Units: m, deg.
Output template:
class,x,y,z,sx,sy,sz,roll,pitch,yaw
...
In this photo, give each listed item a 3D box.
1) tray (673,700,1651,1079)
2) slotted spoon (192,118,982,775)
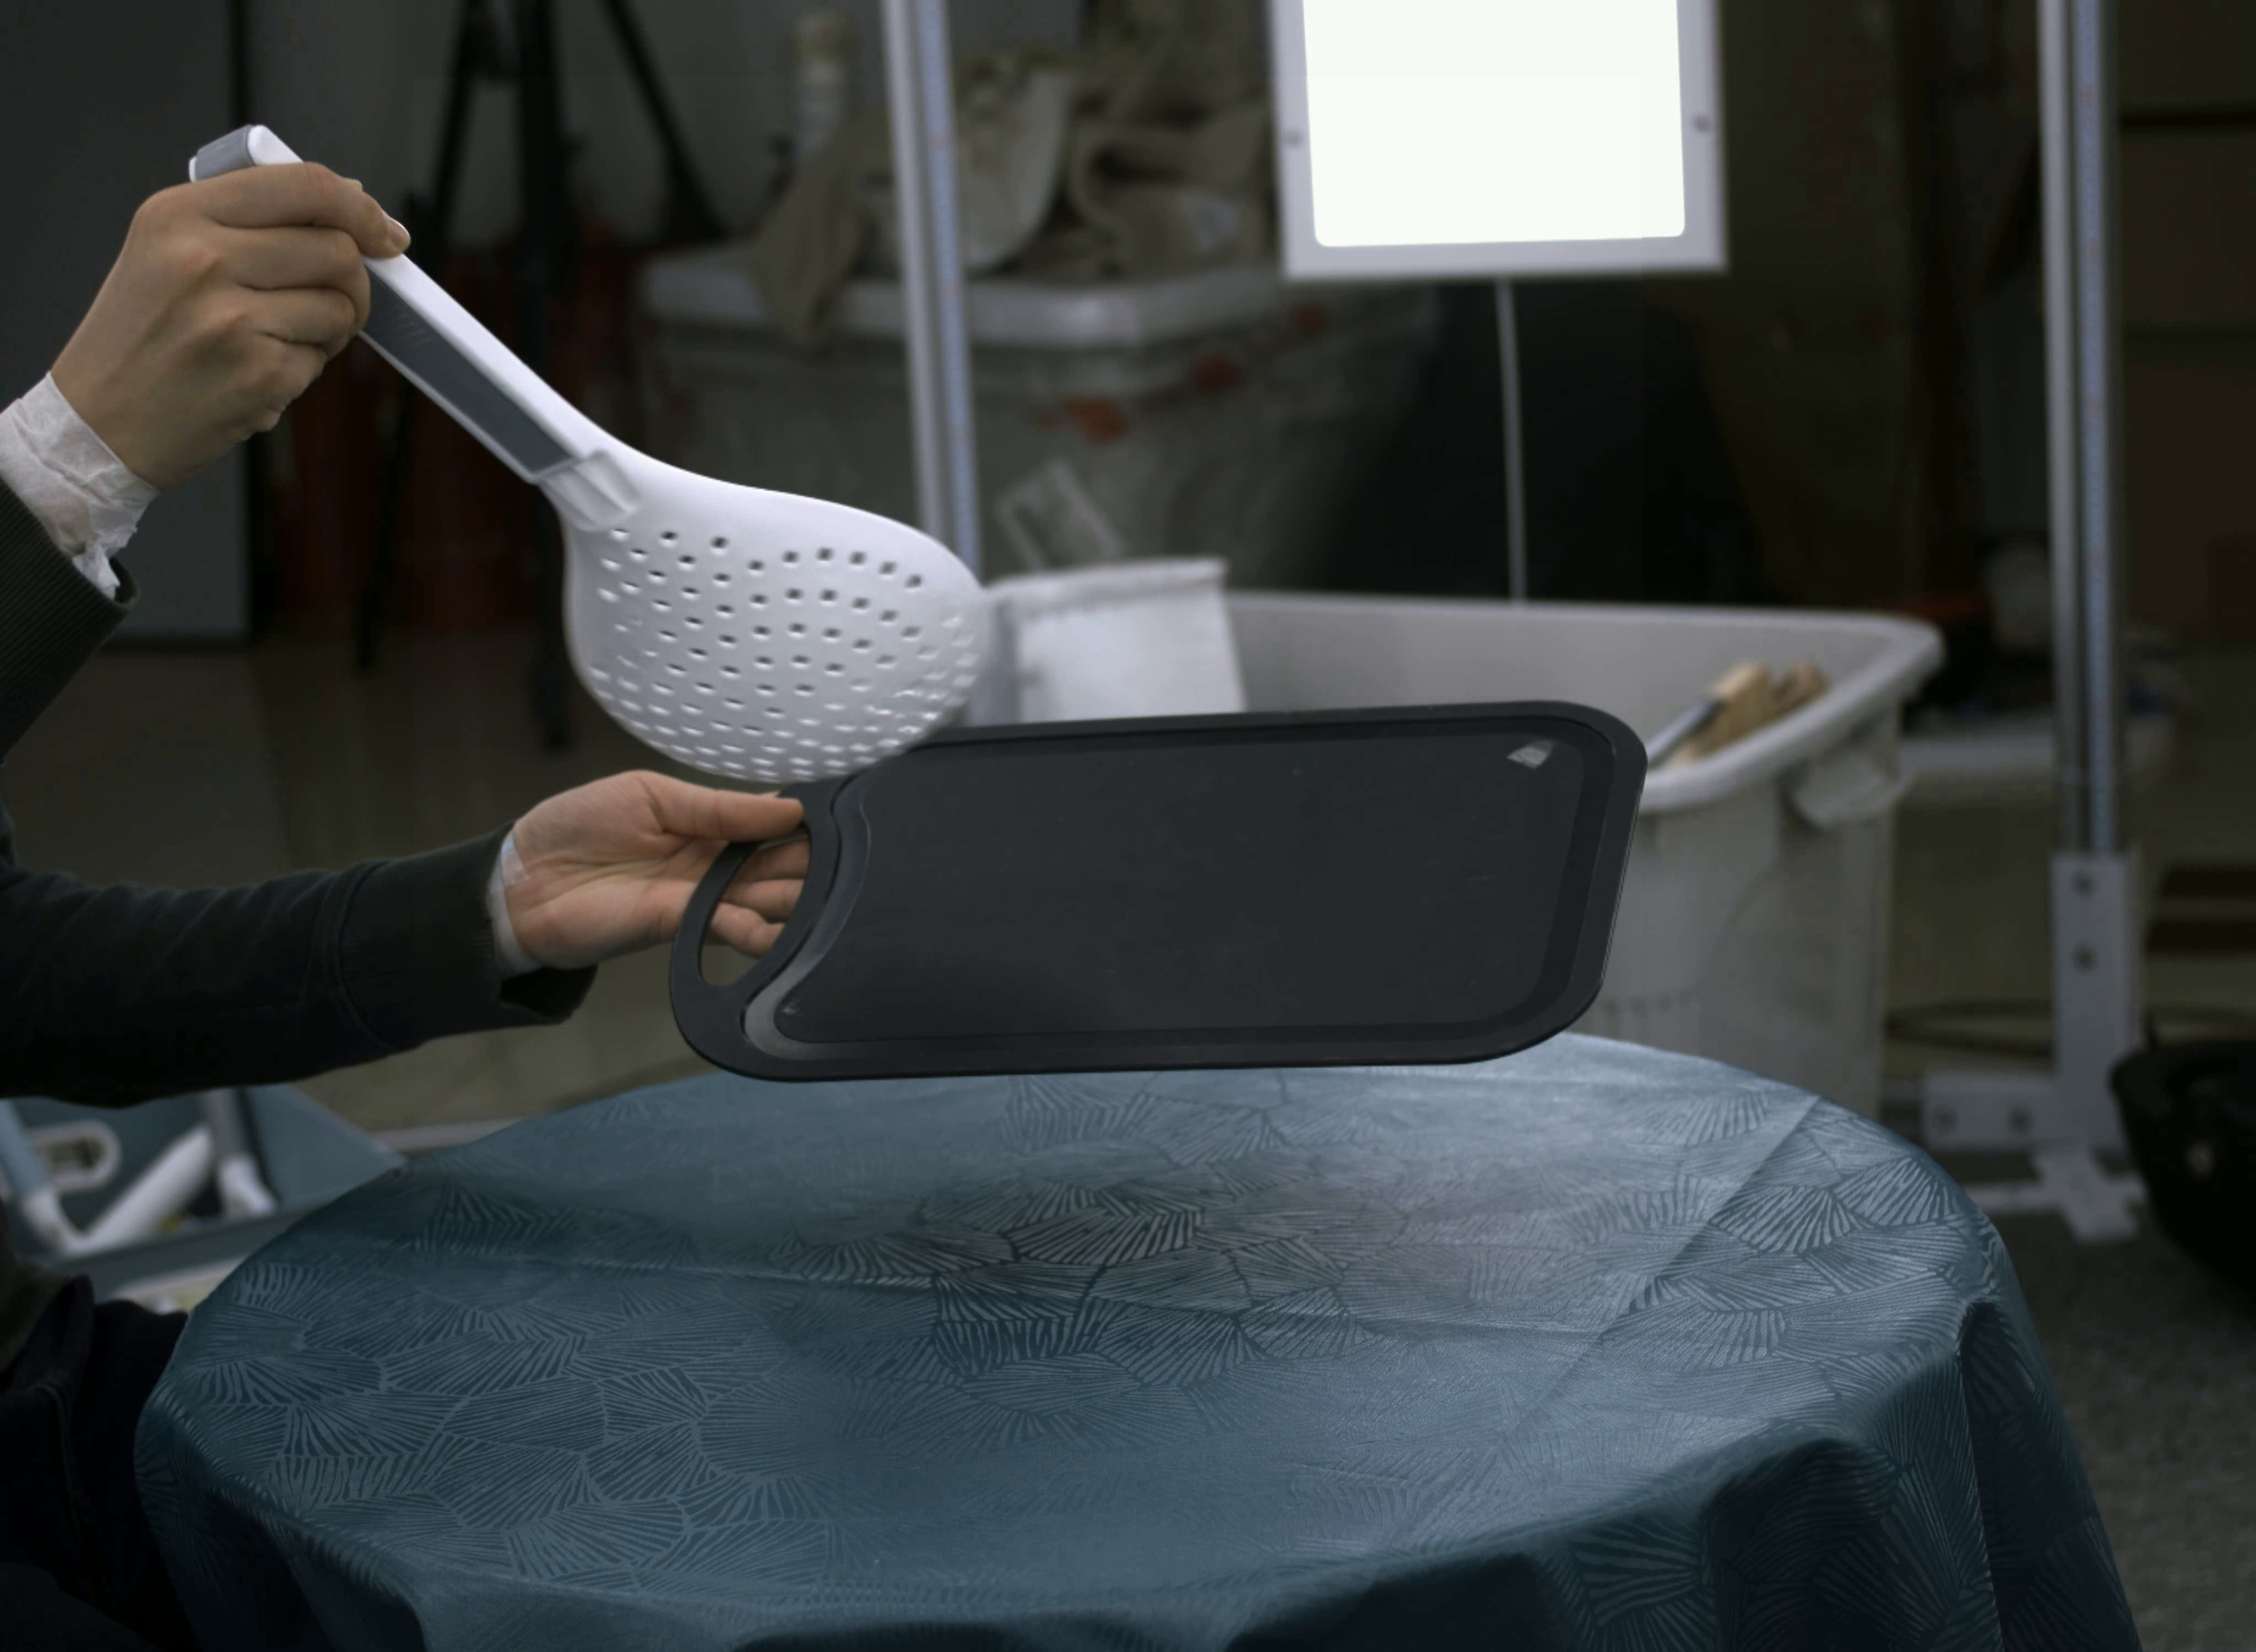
class,x,y,z,sx,sy,sz,roll,pitch,yaw
tray,0.007,0.018,1.831,0.329,0.010,0.208,-2,33,17
slotted spoon,-0.170,-0.112,1.707,0.138,0.345,0.045,-23,44,23
